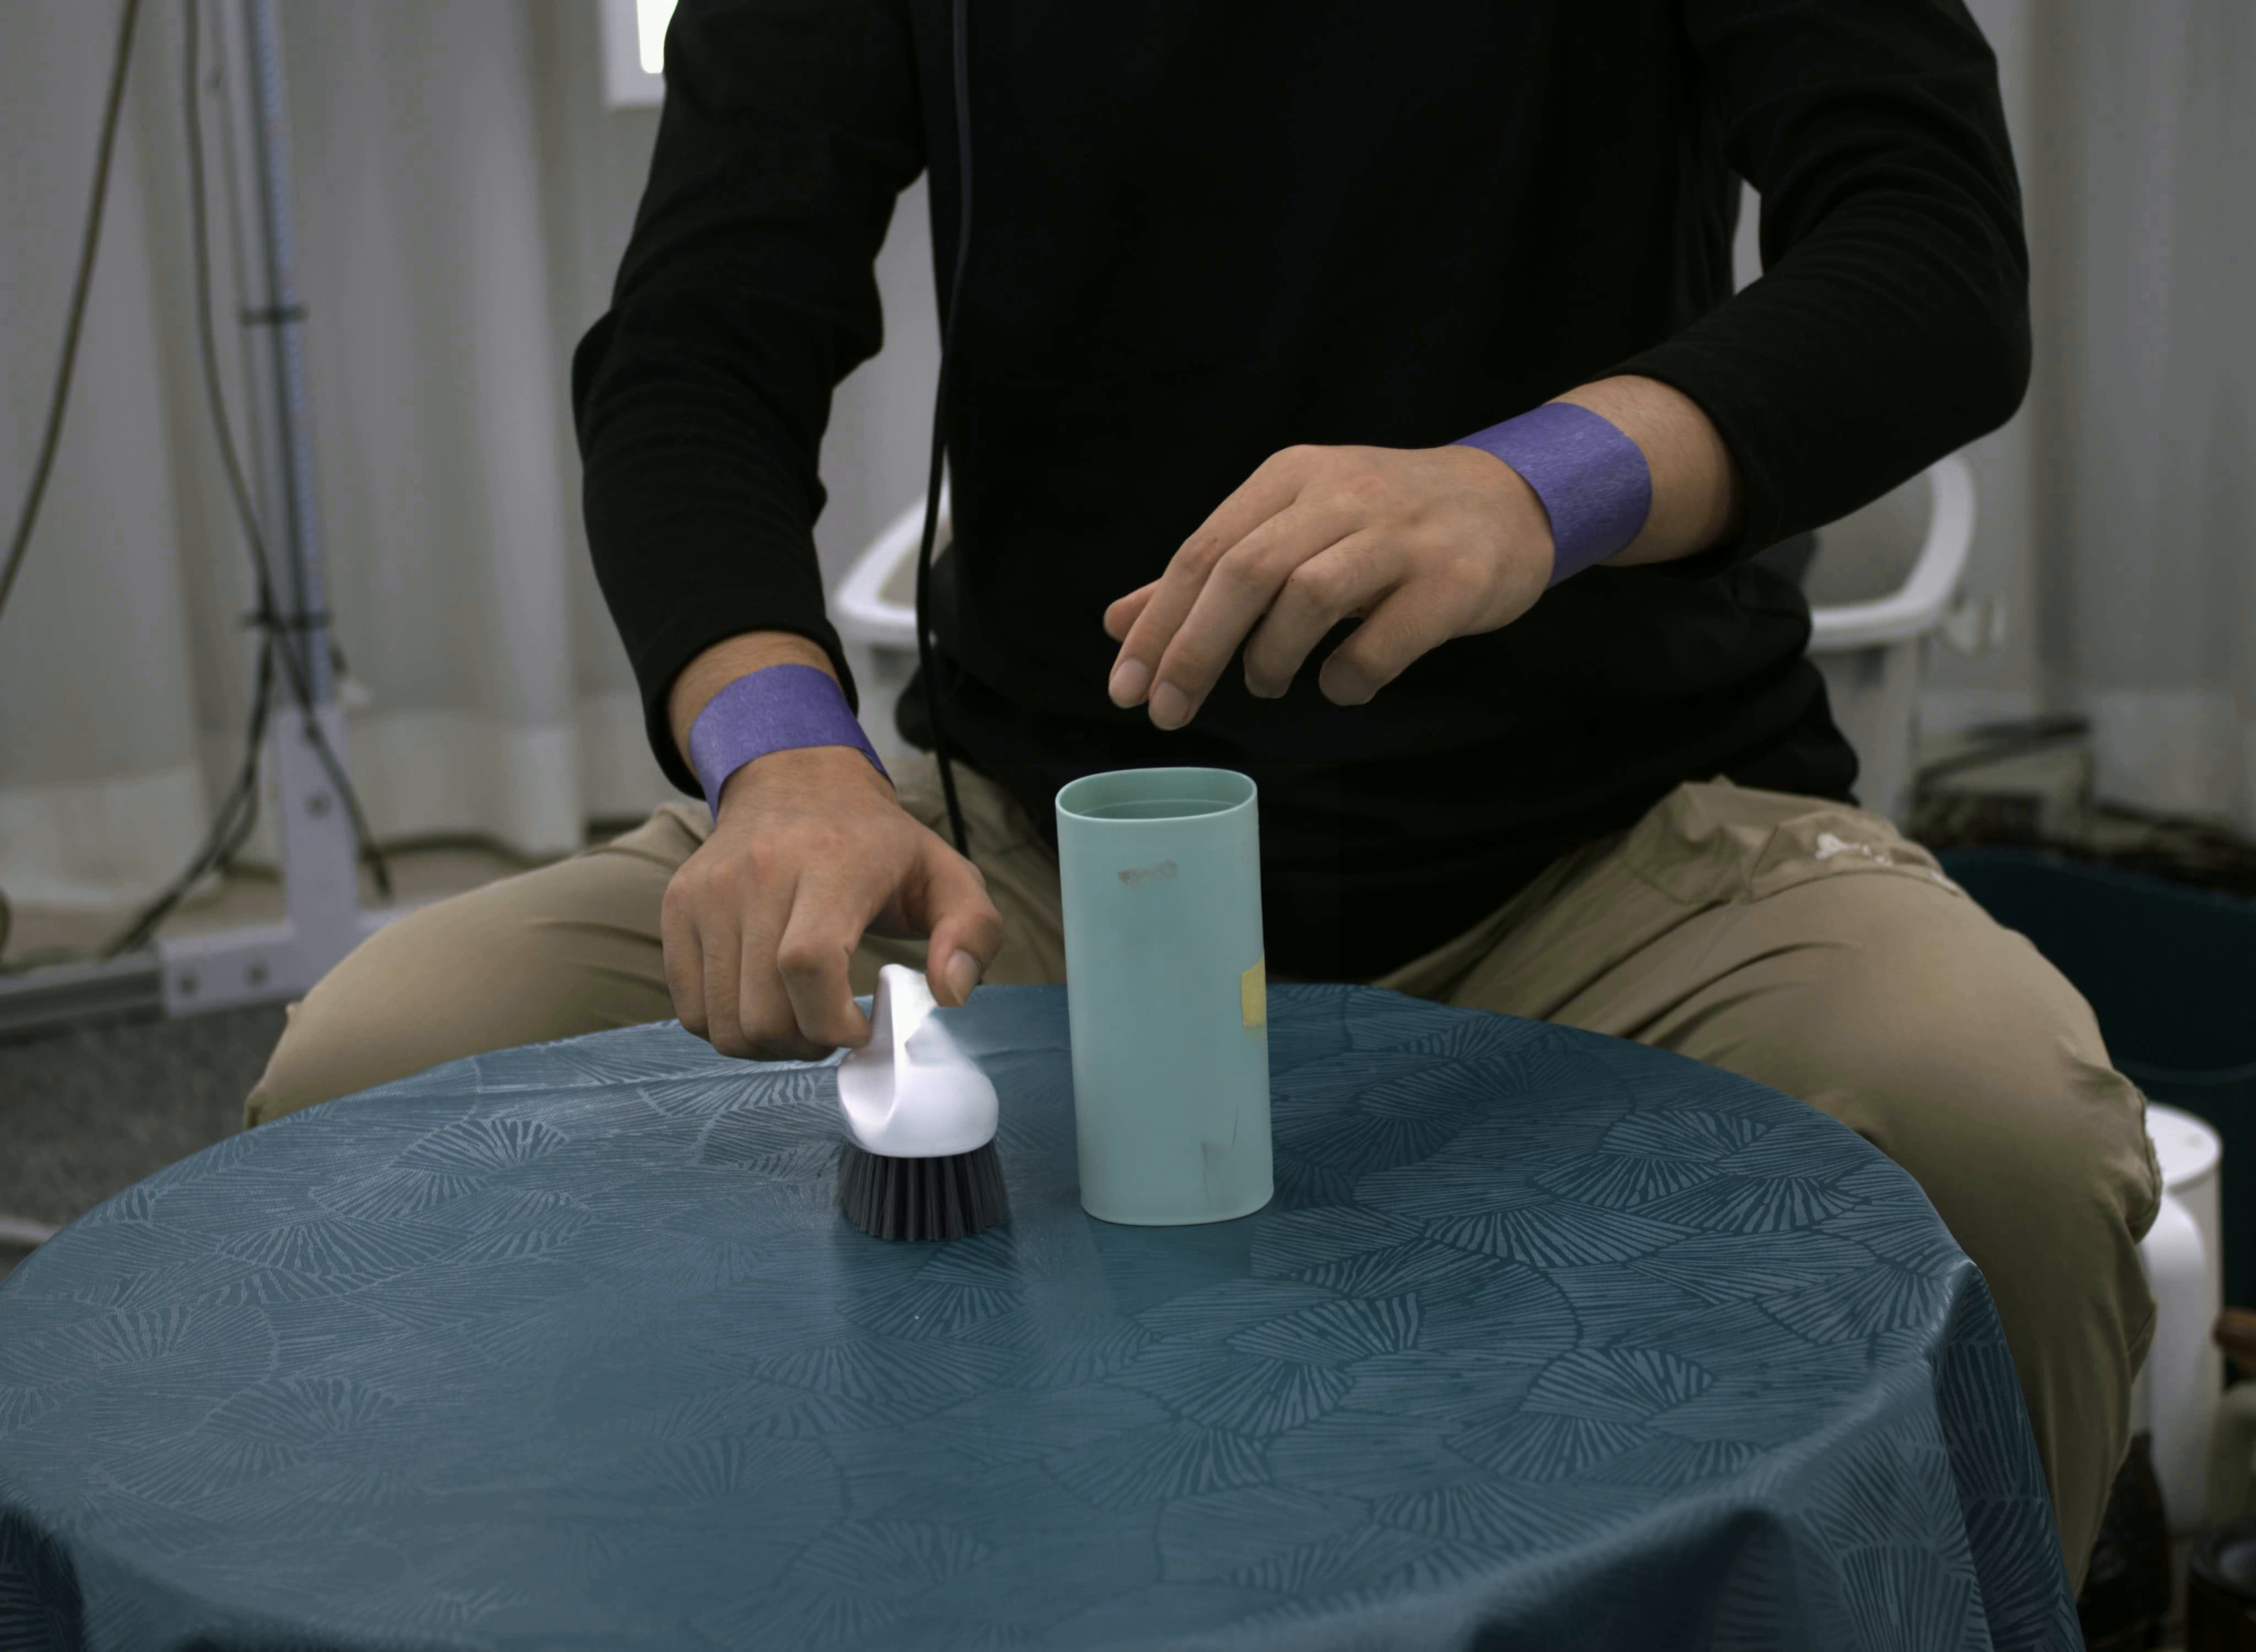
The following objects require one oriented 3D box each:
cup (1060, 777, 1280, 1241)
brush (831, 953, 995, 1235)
[{"bbox_3d":[0.012,0.056,1.695,0.066,0.132,0.067,-3,14,1],"label":"cup"},{"bbox_3d":[-0.068,0.079,1.716,0.050,0.072,0.100,-3,16,-5],"label":"brush"}]
